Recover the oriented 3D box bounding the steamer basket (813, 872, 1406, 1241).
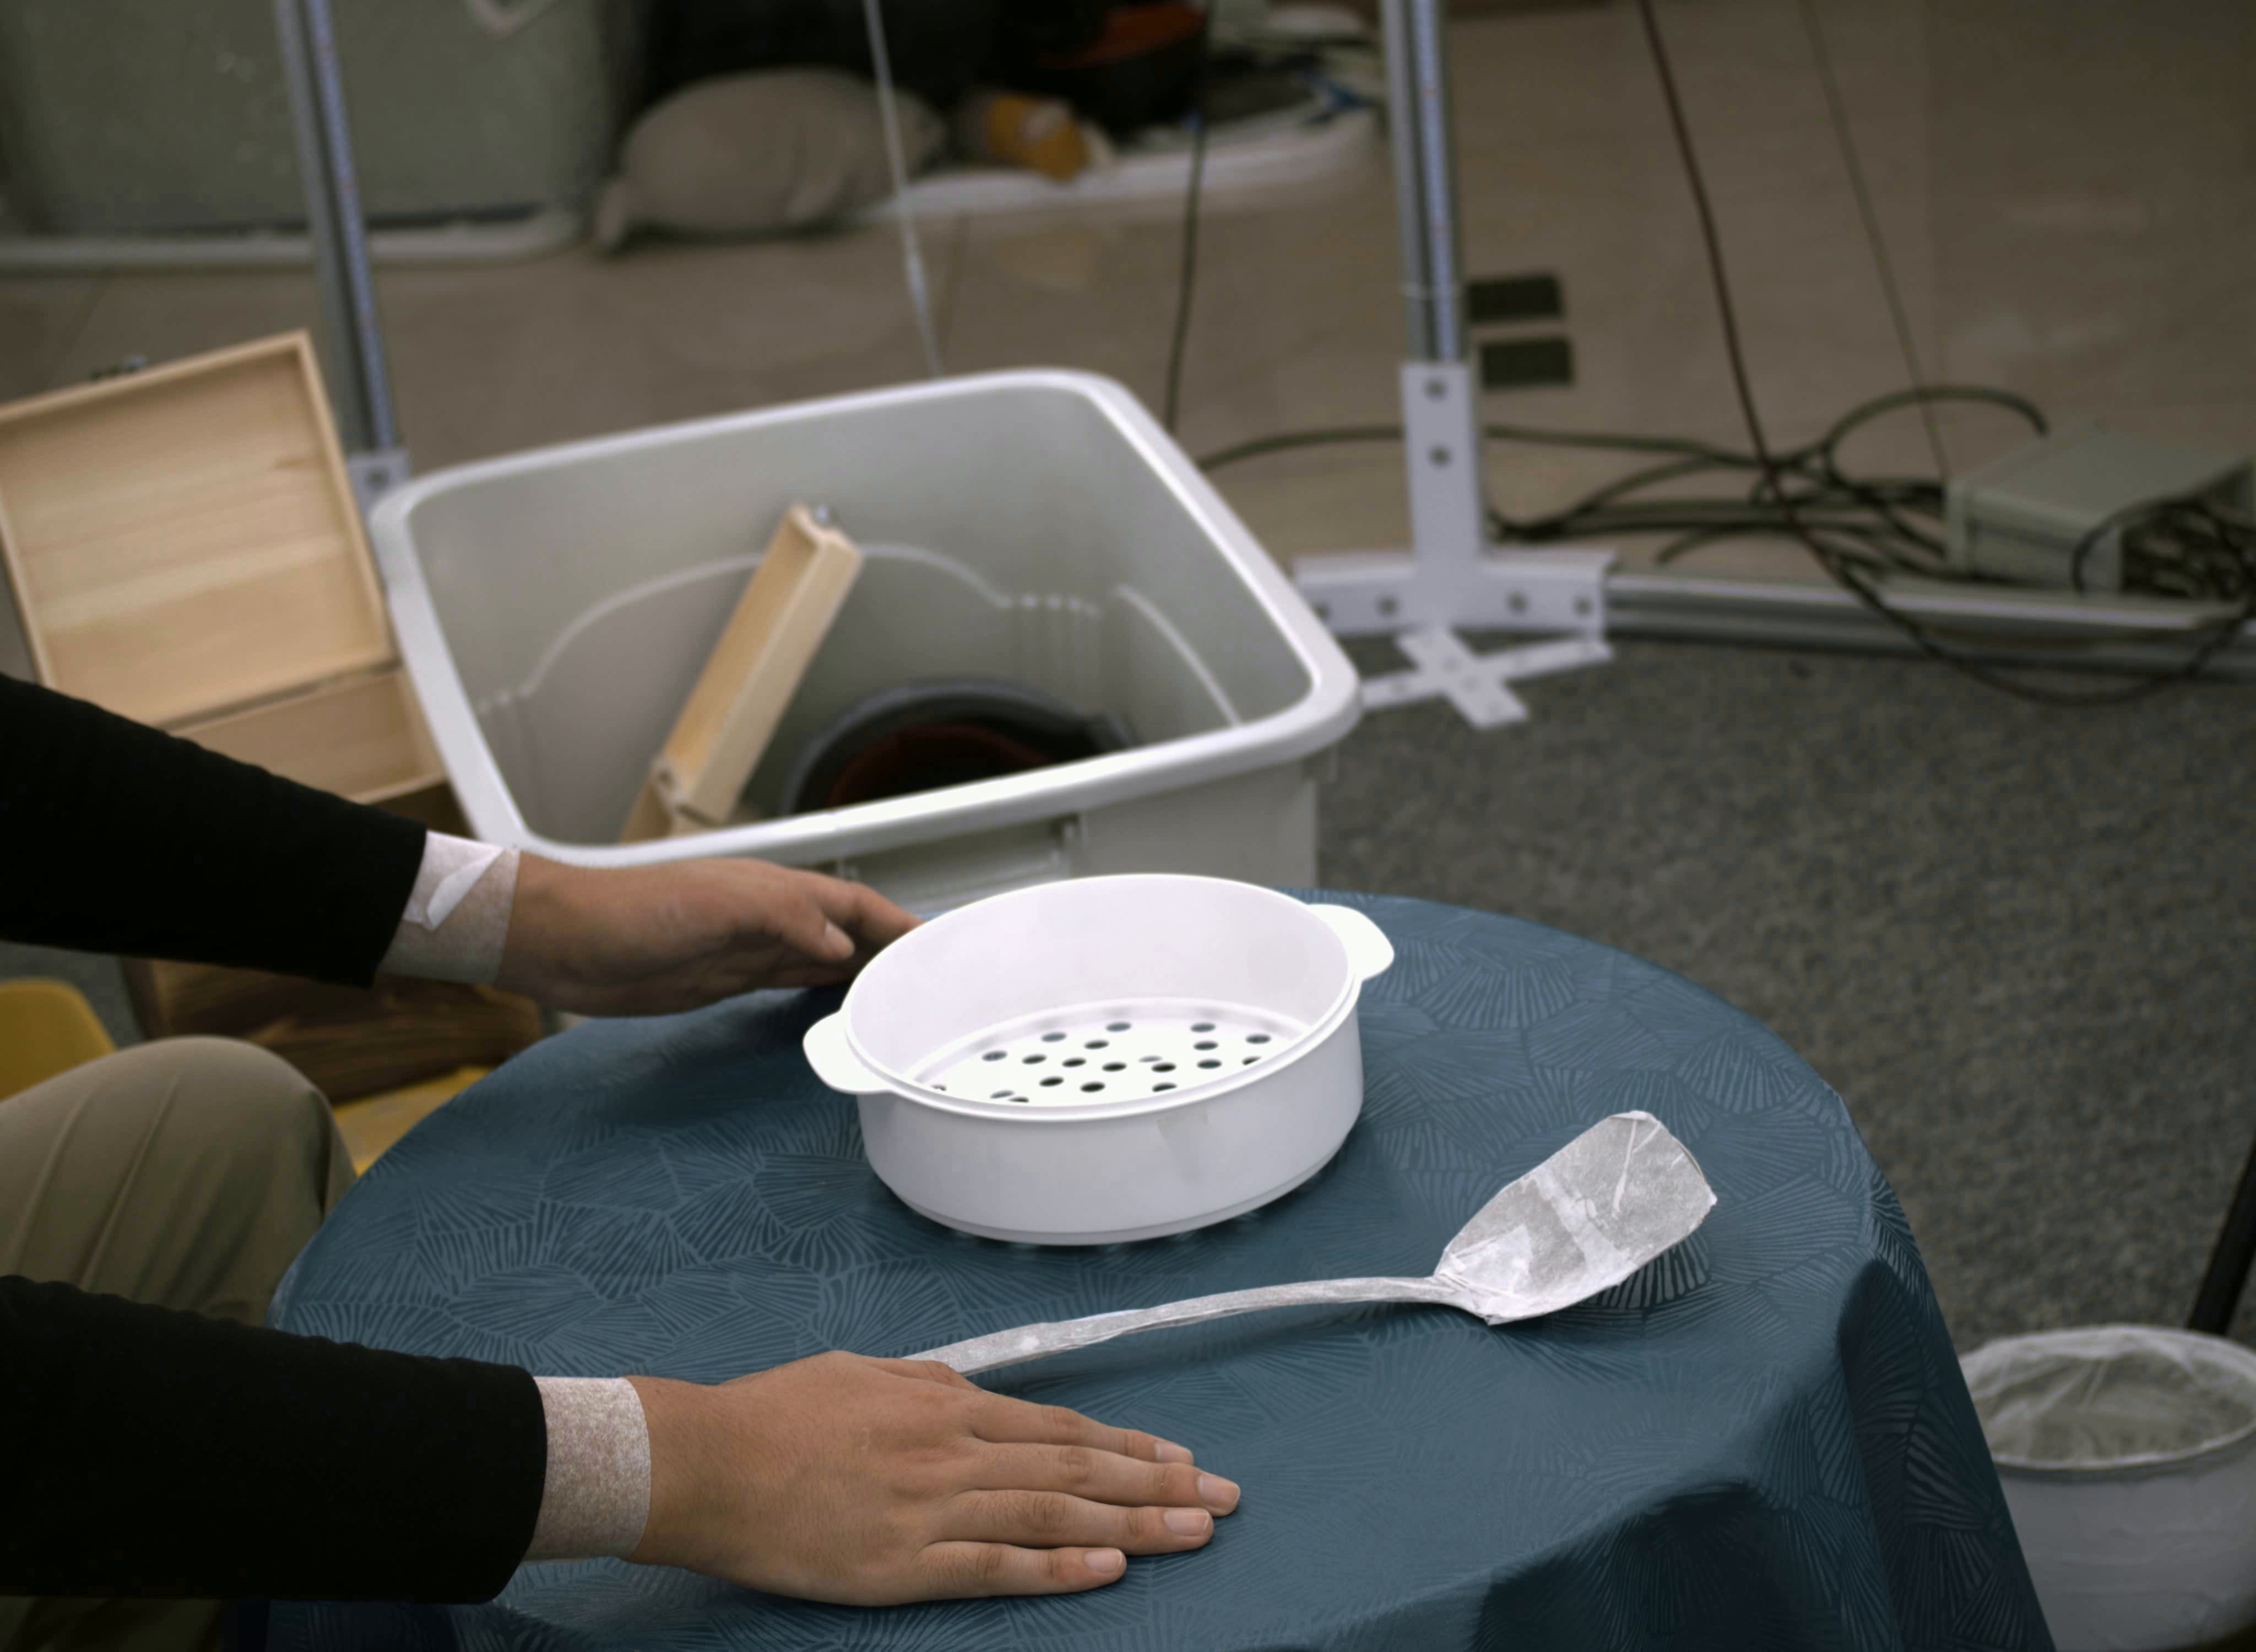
[{"bbox_3d":[-0.003,0.089,2.173,0.230,0.070,0.199,-13,25,-12],"label":"steamer basket"}]

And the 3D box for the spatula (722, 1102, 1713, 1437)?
[{"bbox_3d":[0.032,0.168,2.033,0.364,0.045,0.097,-10,27,-8],"label":"spatula"}]
